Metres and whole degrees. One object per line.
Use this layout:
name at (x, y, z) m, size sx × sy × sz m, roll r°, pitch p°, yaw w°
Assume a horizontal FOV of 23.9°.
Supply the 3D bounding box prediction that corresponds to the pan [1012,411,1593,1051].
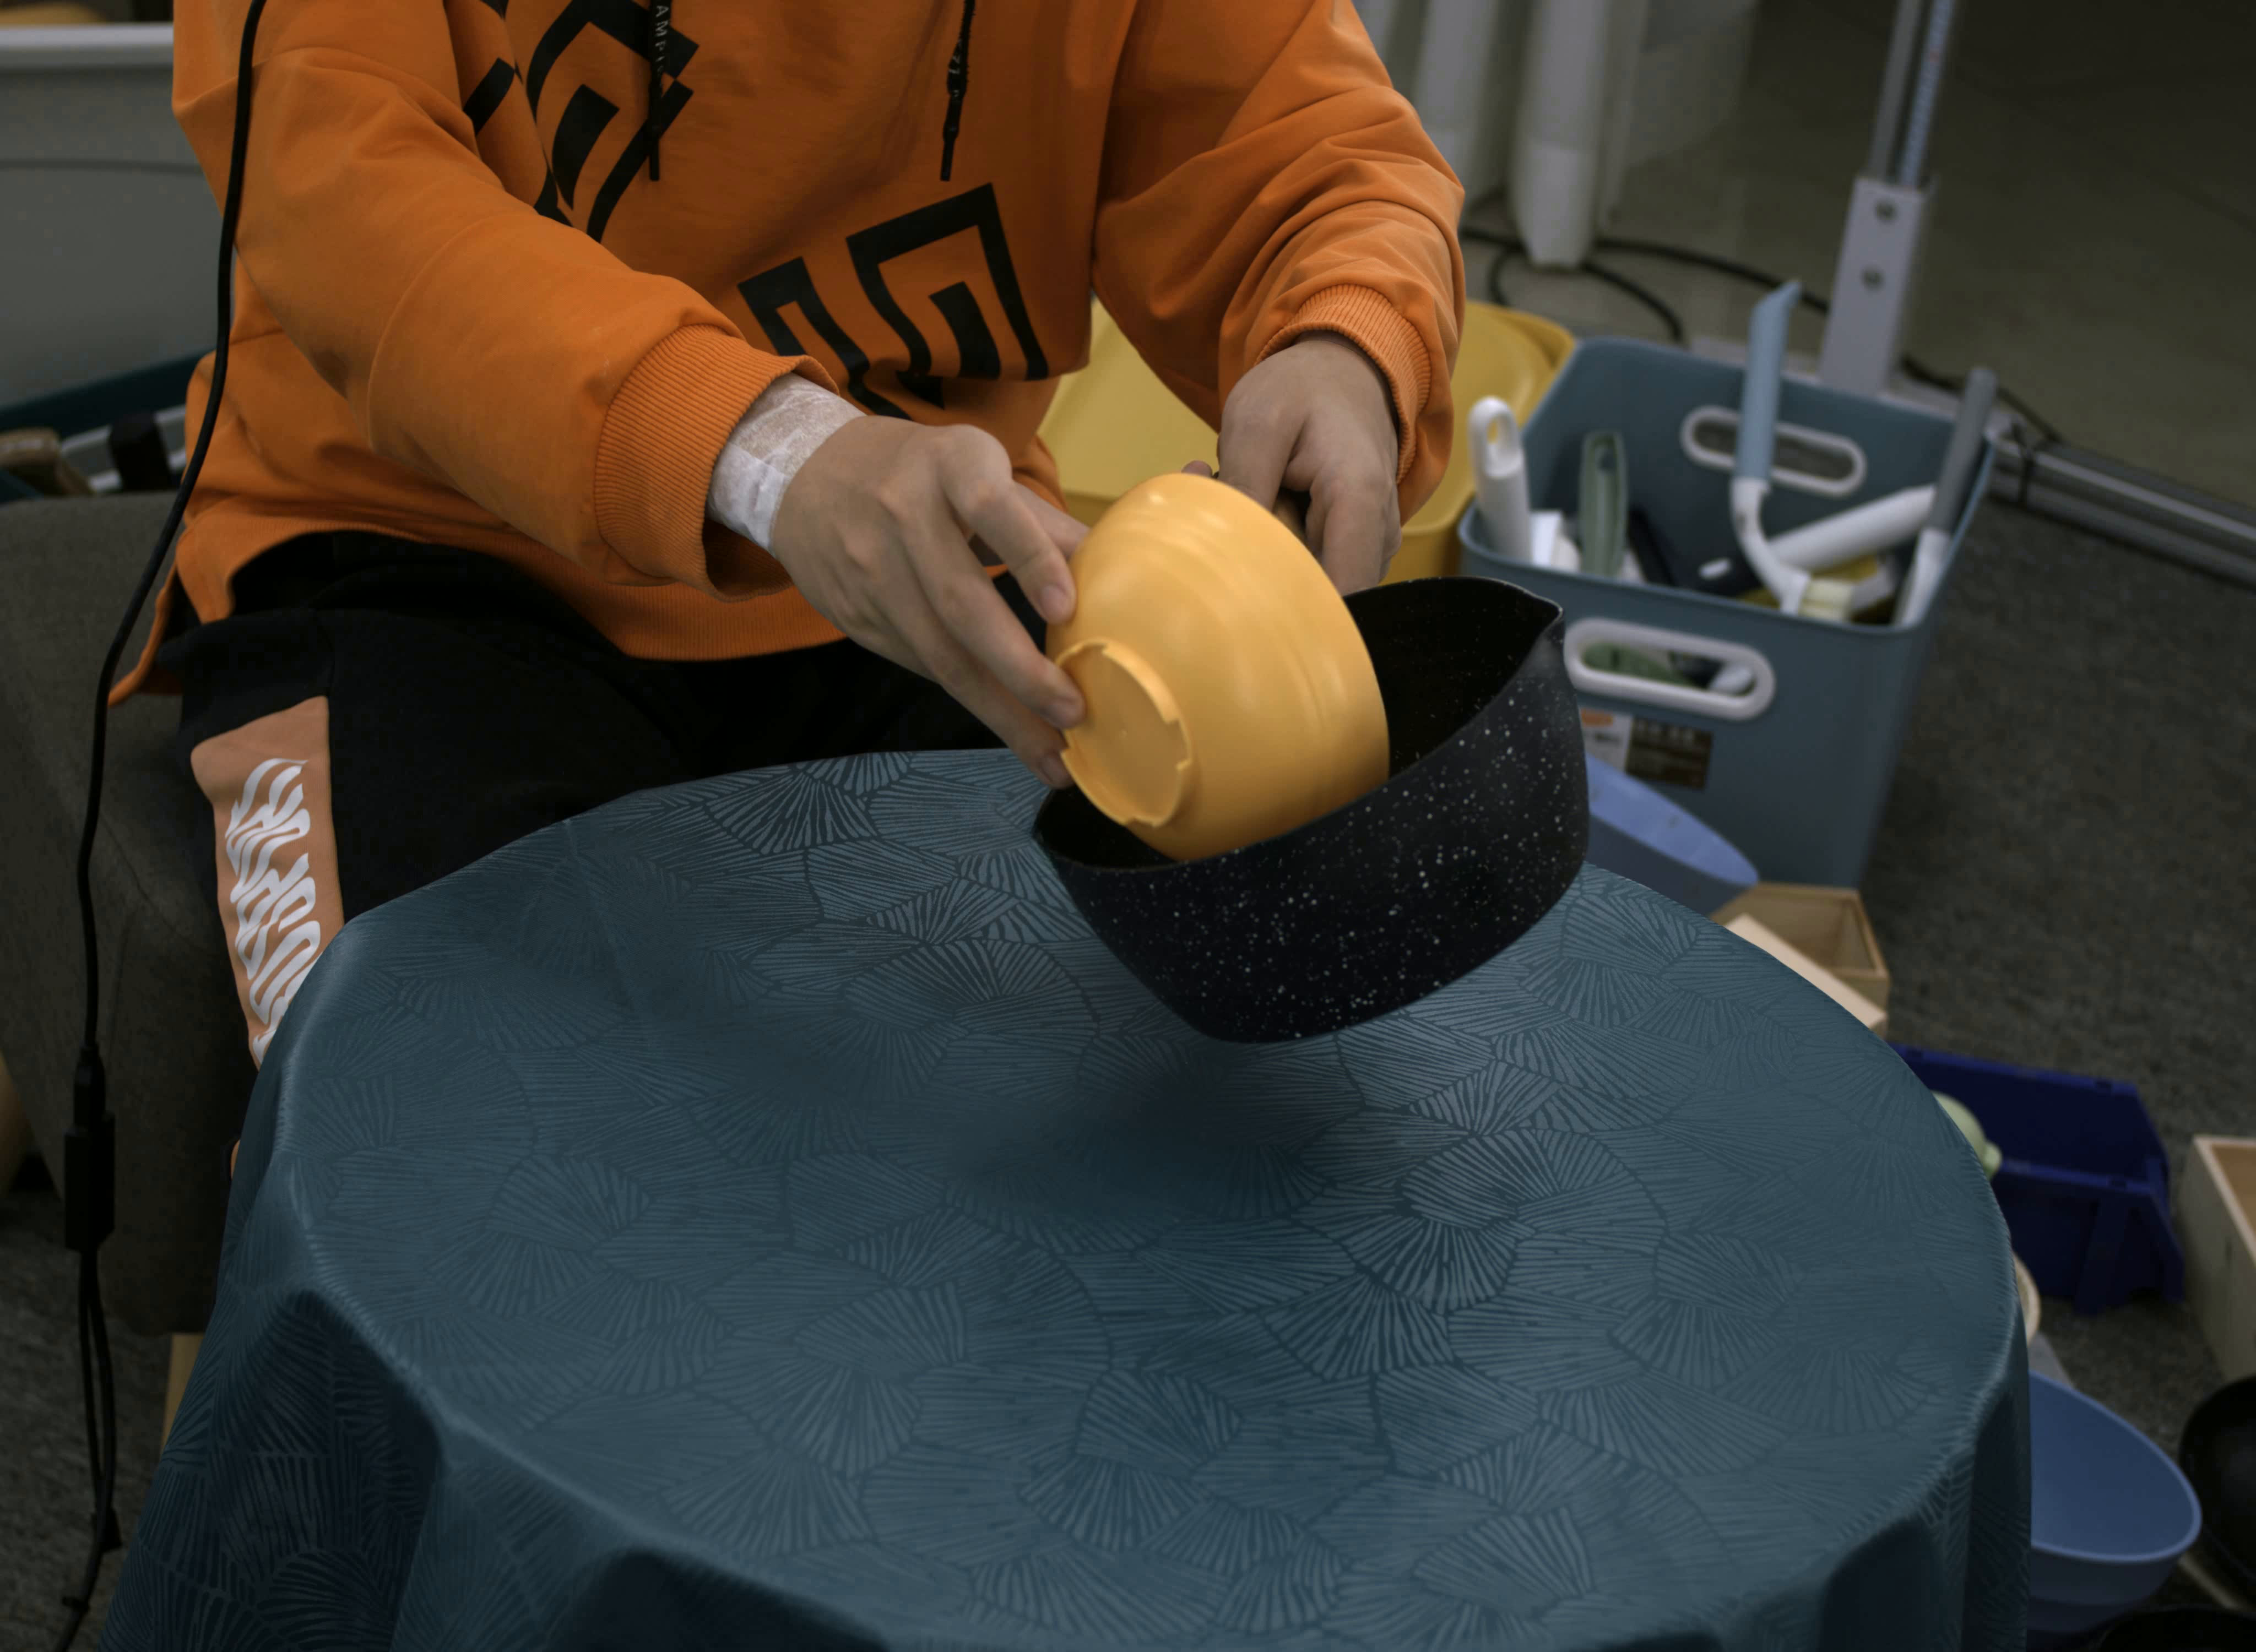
pan at (0.064, -0.042, 1.874) m, size 0.207 × 0.107 × 0.345 m, roll -25°, pitch 22°, yaw 9°

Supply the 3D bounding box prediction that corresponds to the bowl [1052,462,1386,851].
bowl at (0.018, -0.043, 1.775) m, size 0.060 × 0.144 × 0.146 m, roll -29°, pitch 42°, yaw -30°
